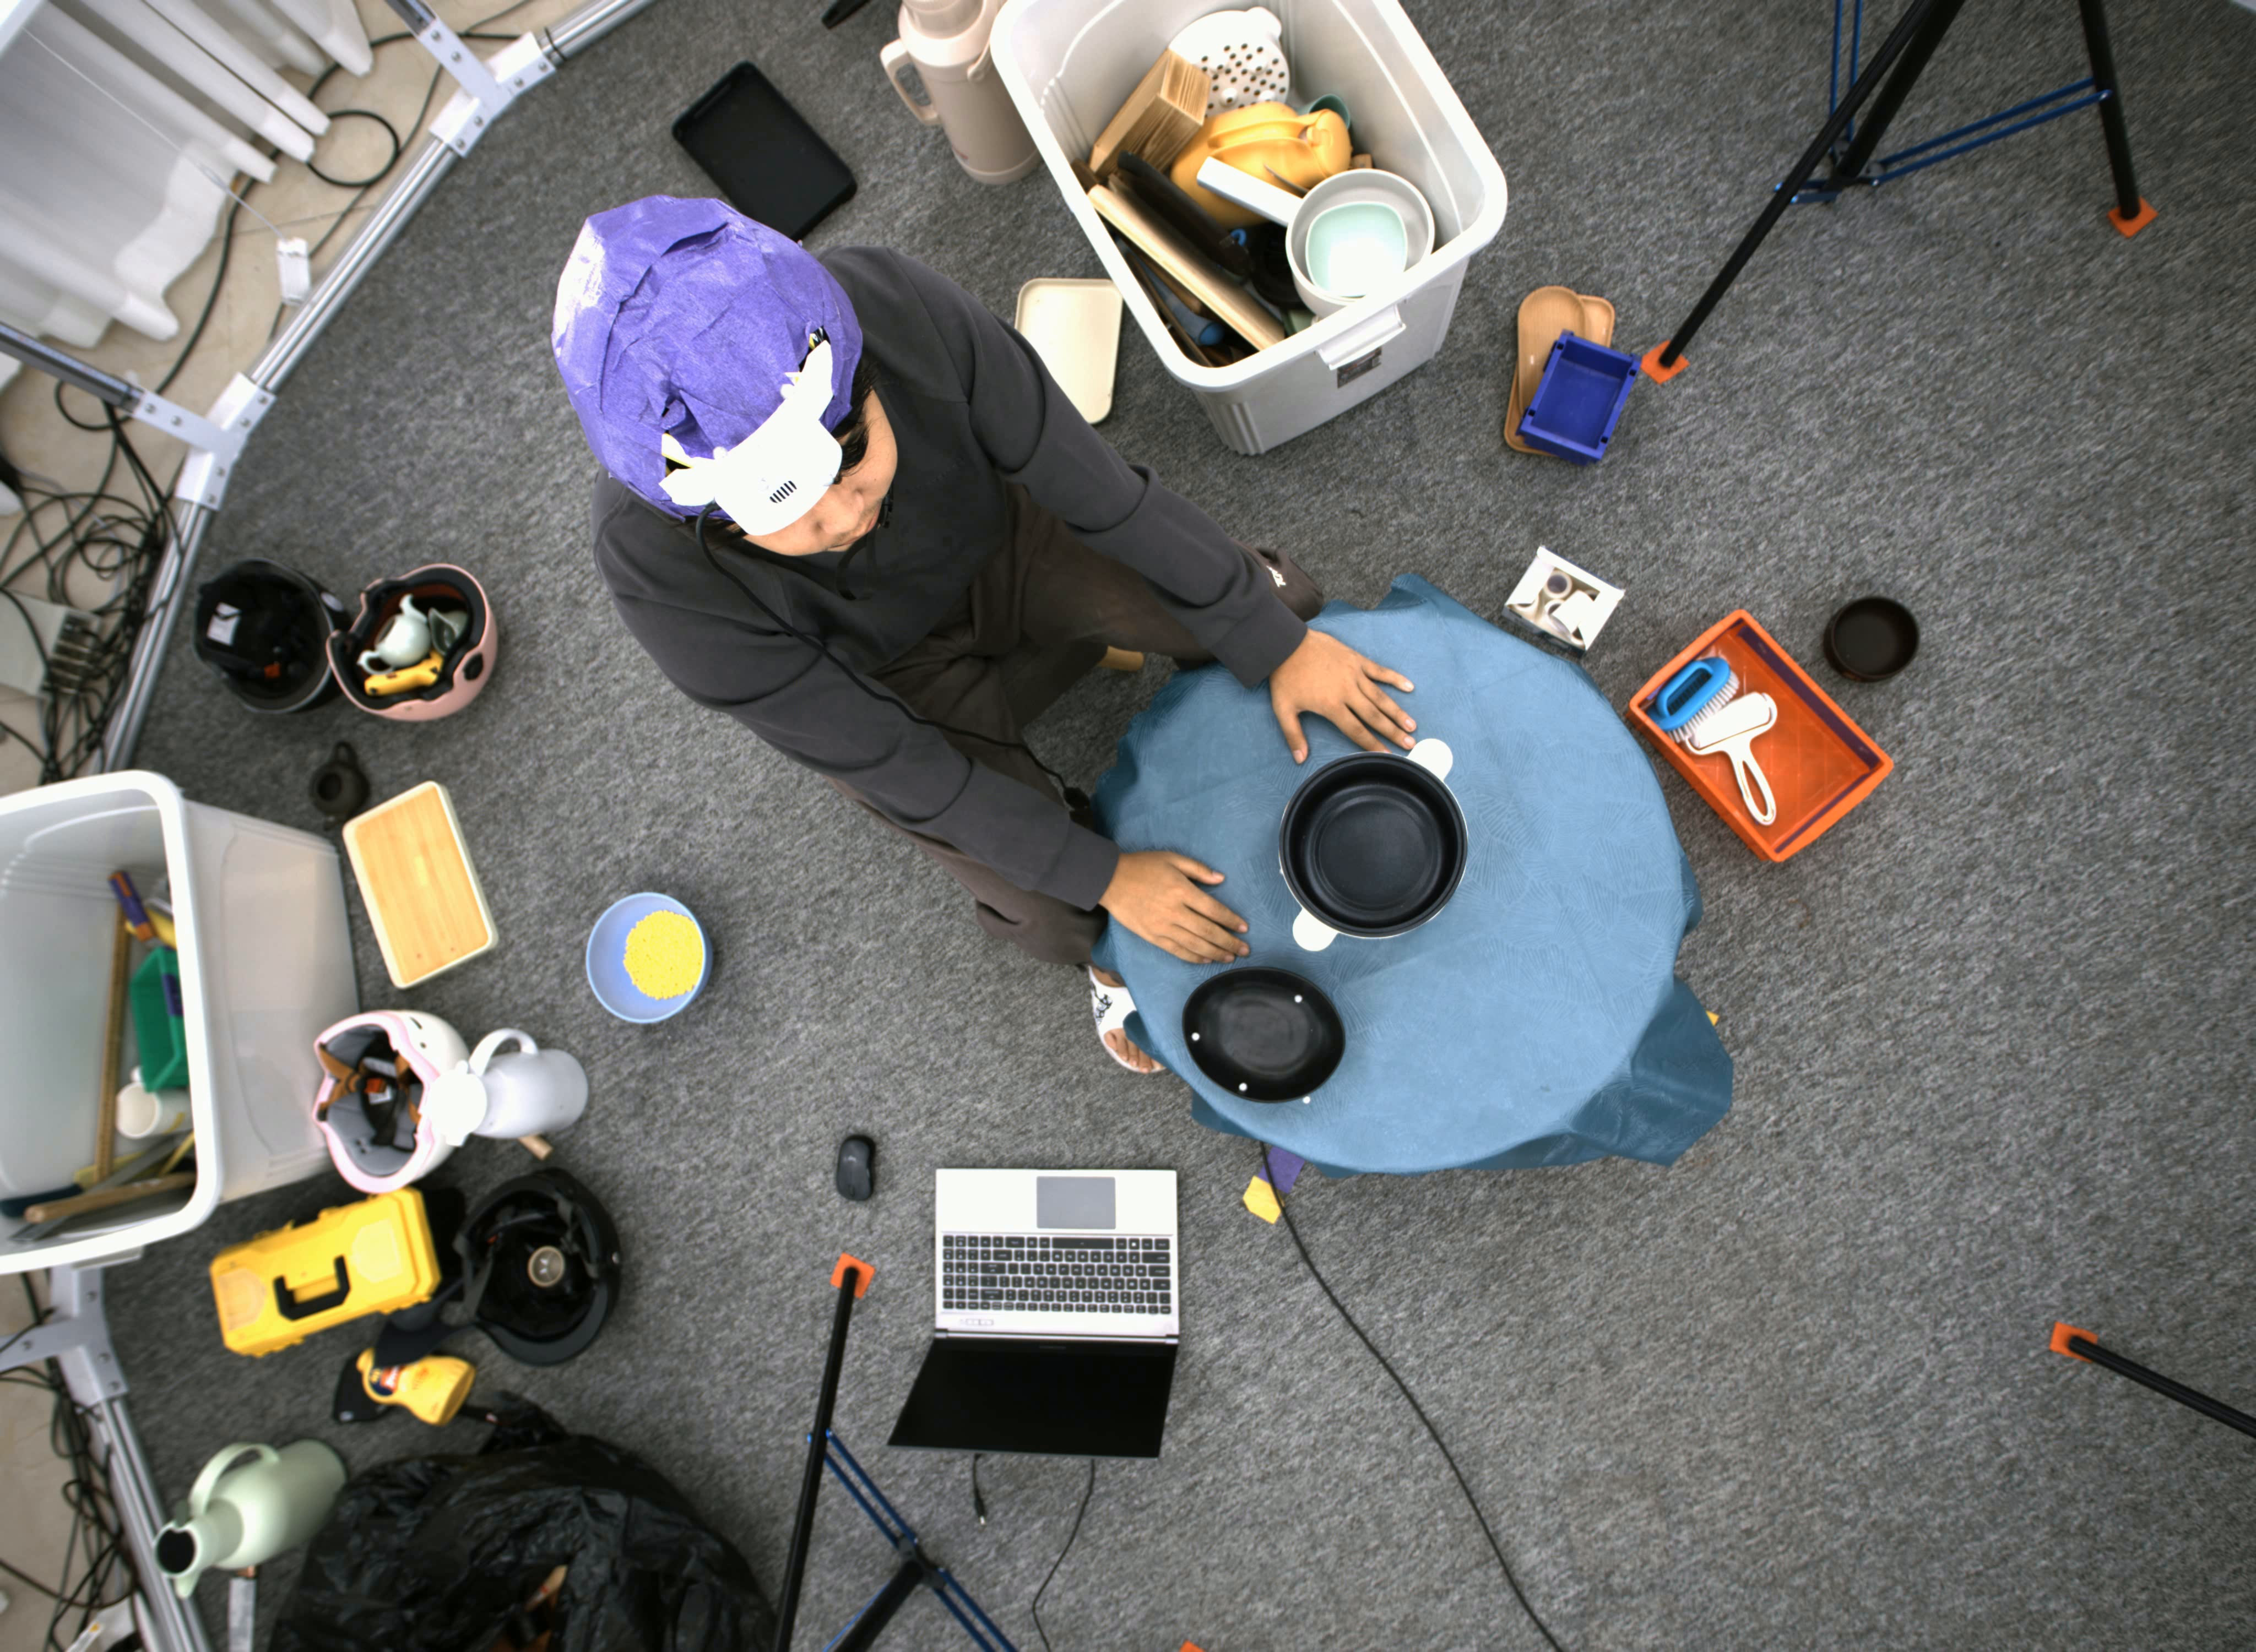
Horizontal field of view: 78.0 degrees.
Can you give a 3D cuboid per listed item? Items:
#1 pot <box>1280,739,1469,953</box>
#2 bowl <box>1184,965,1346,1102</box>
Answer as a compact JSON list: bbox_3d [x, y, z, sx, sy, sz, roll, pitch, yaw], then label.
[{"bbox_3d":[0.243,0.022,1.399,0.190,0.143,0.240,34,91,8],"label":"pot"},{"bbox_3d":[0.143,0.213,1.444,0.170,0.067,0.137,11,88,13],"label":"bowl"}]
